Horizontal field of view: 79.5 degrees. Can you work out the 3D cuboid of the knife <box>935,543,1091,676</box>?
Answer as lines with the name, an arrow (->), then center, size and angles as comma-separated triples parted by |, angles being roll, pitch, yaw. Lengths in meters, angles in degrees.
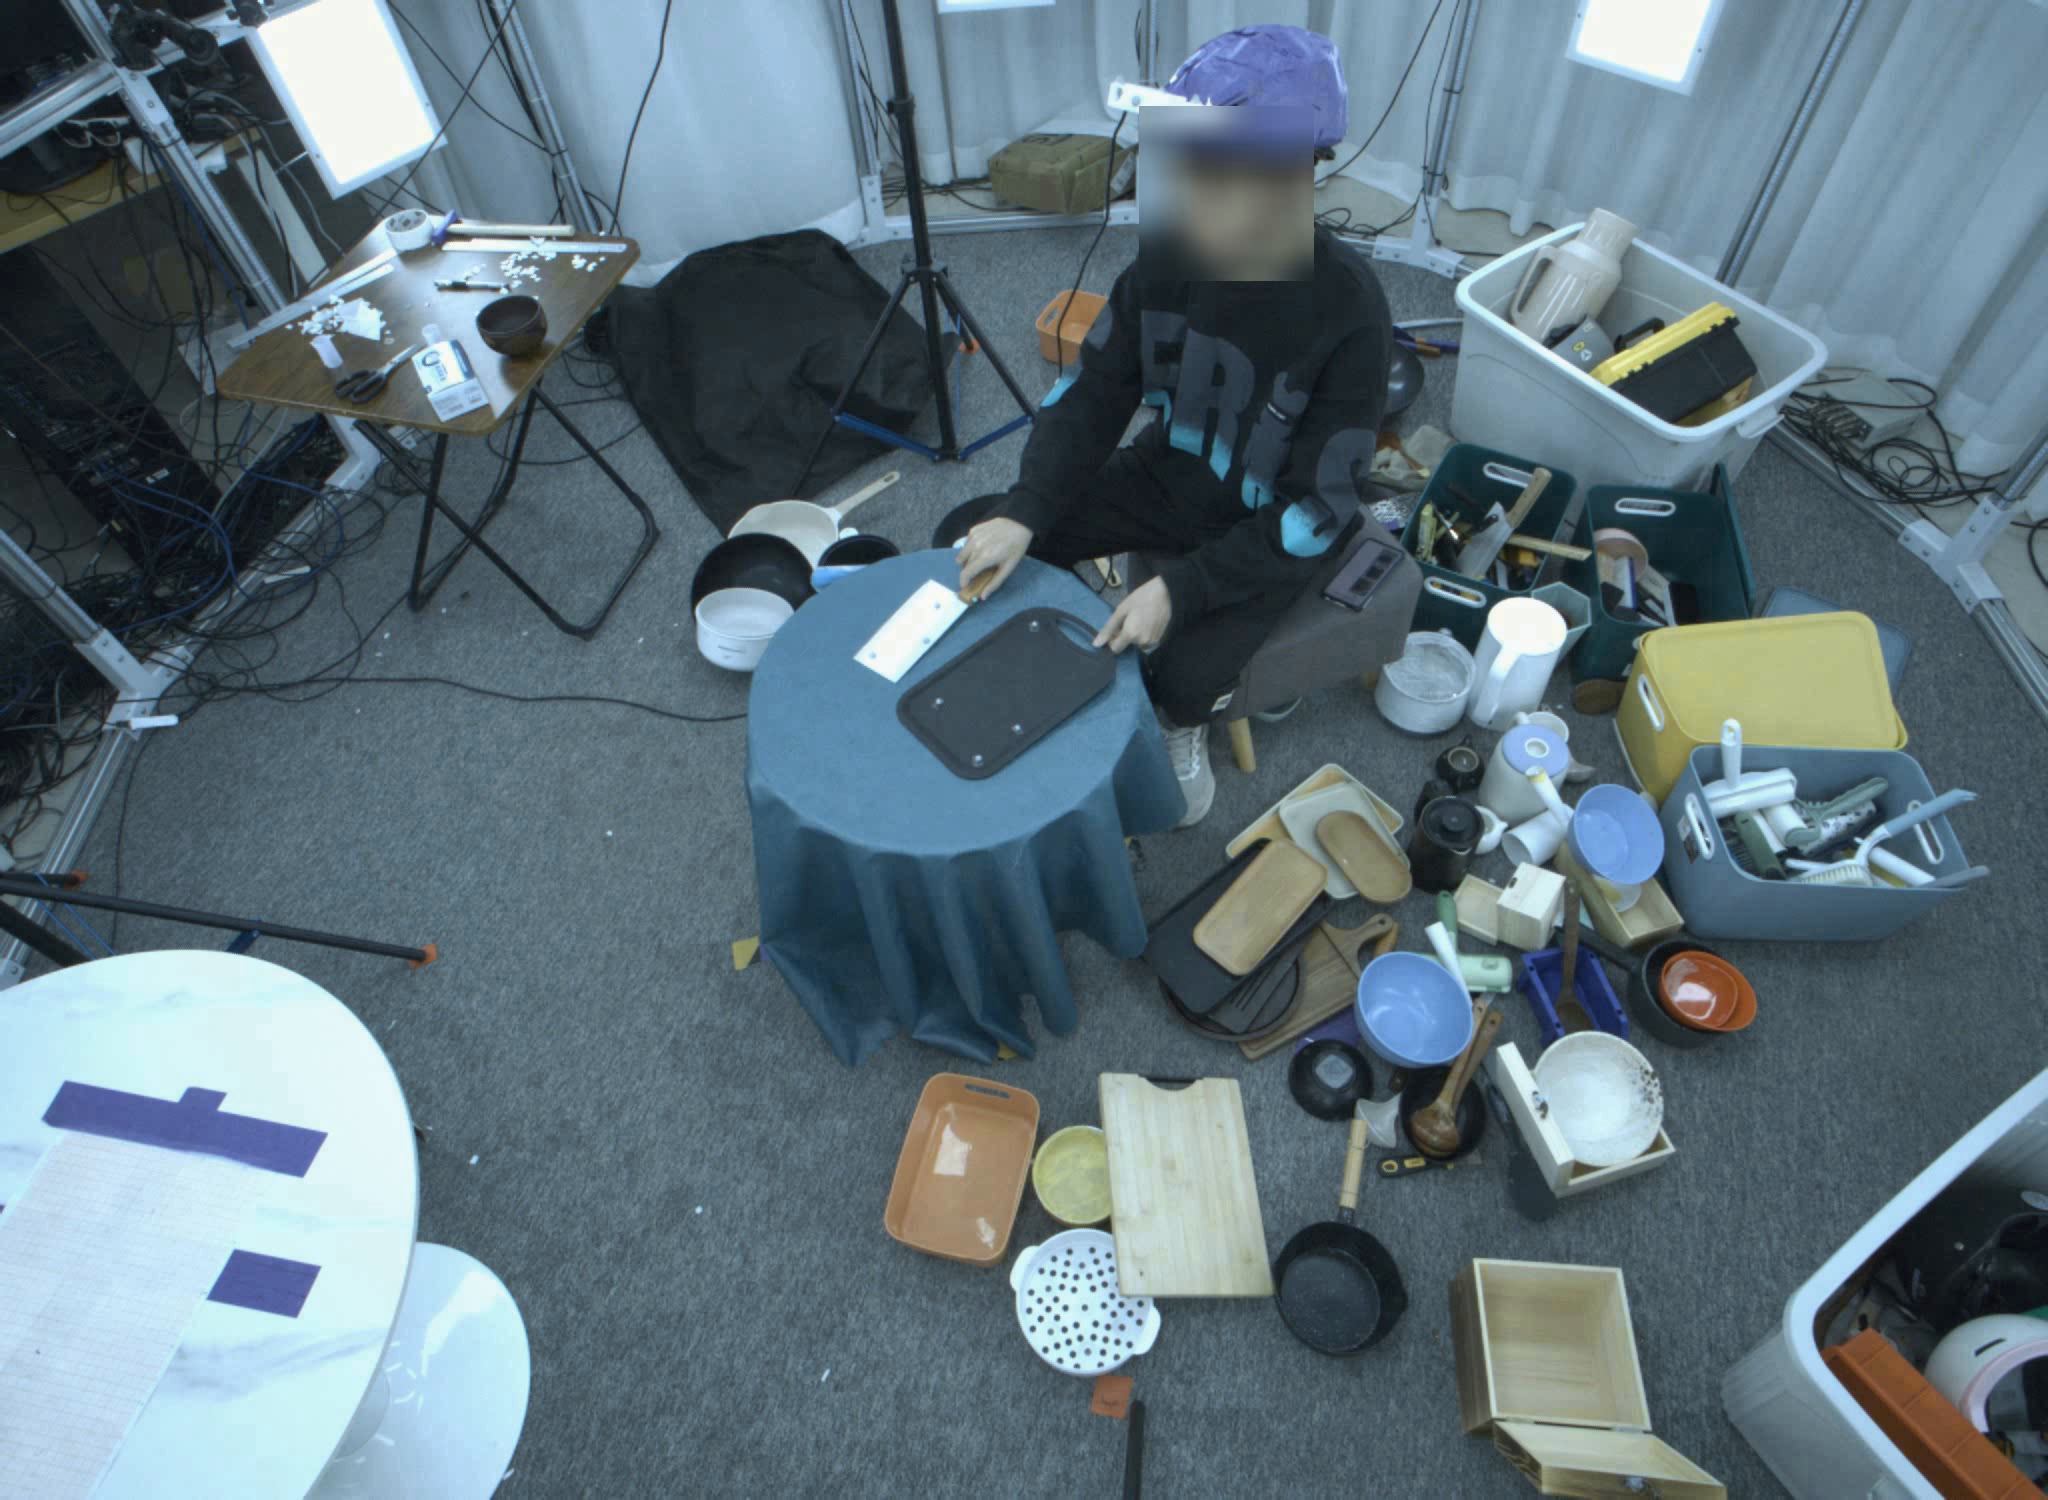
knife -> -0.021, -0.235, 1.935 | 0.091, 0.021, 0.307 | 35, 68, 24

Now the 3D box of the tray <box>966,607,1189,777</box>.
tray -> 0.085, -0.098, 1.840 | 0.327, 0.010, 0.207 | -33, 59, -16
